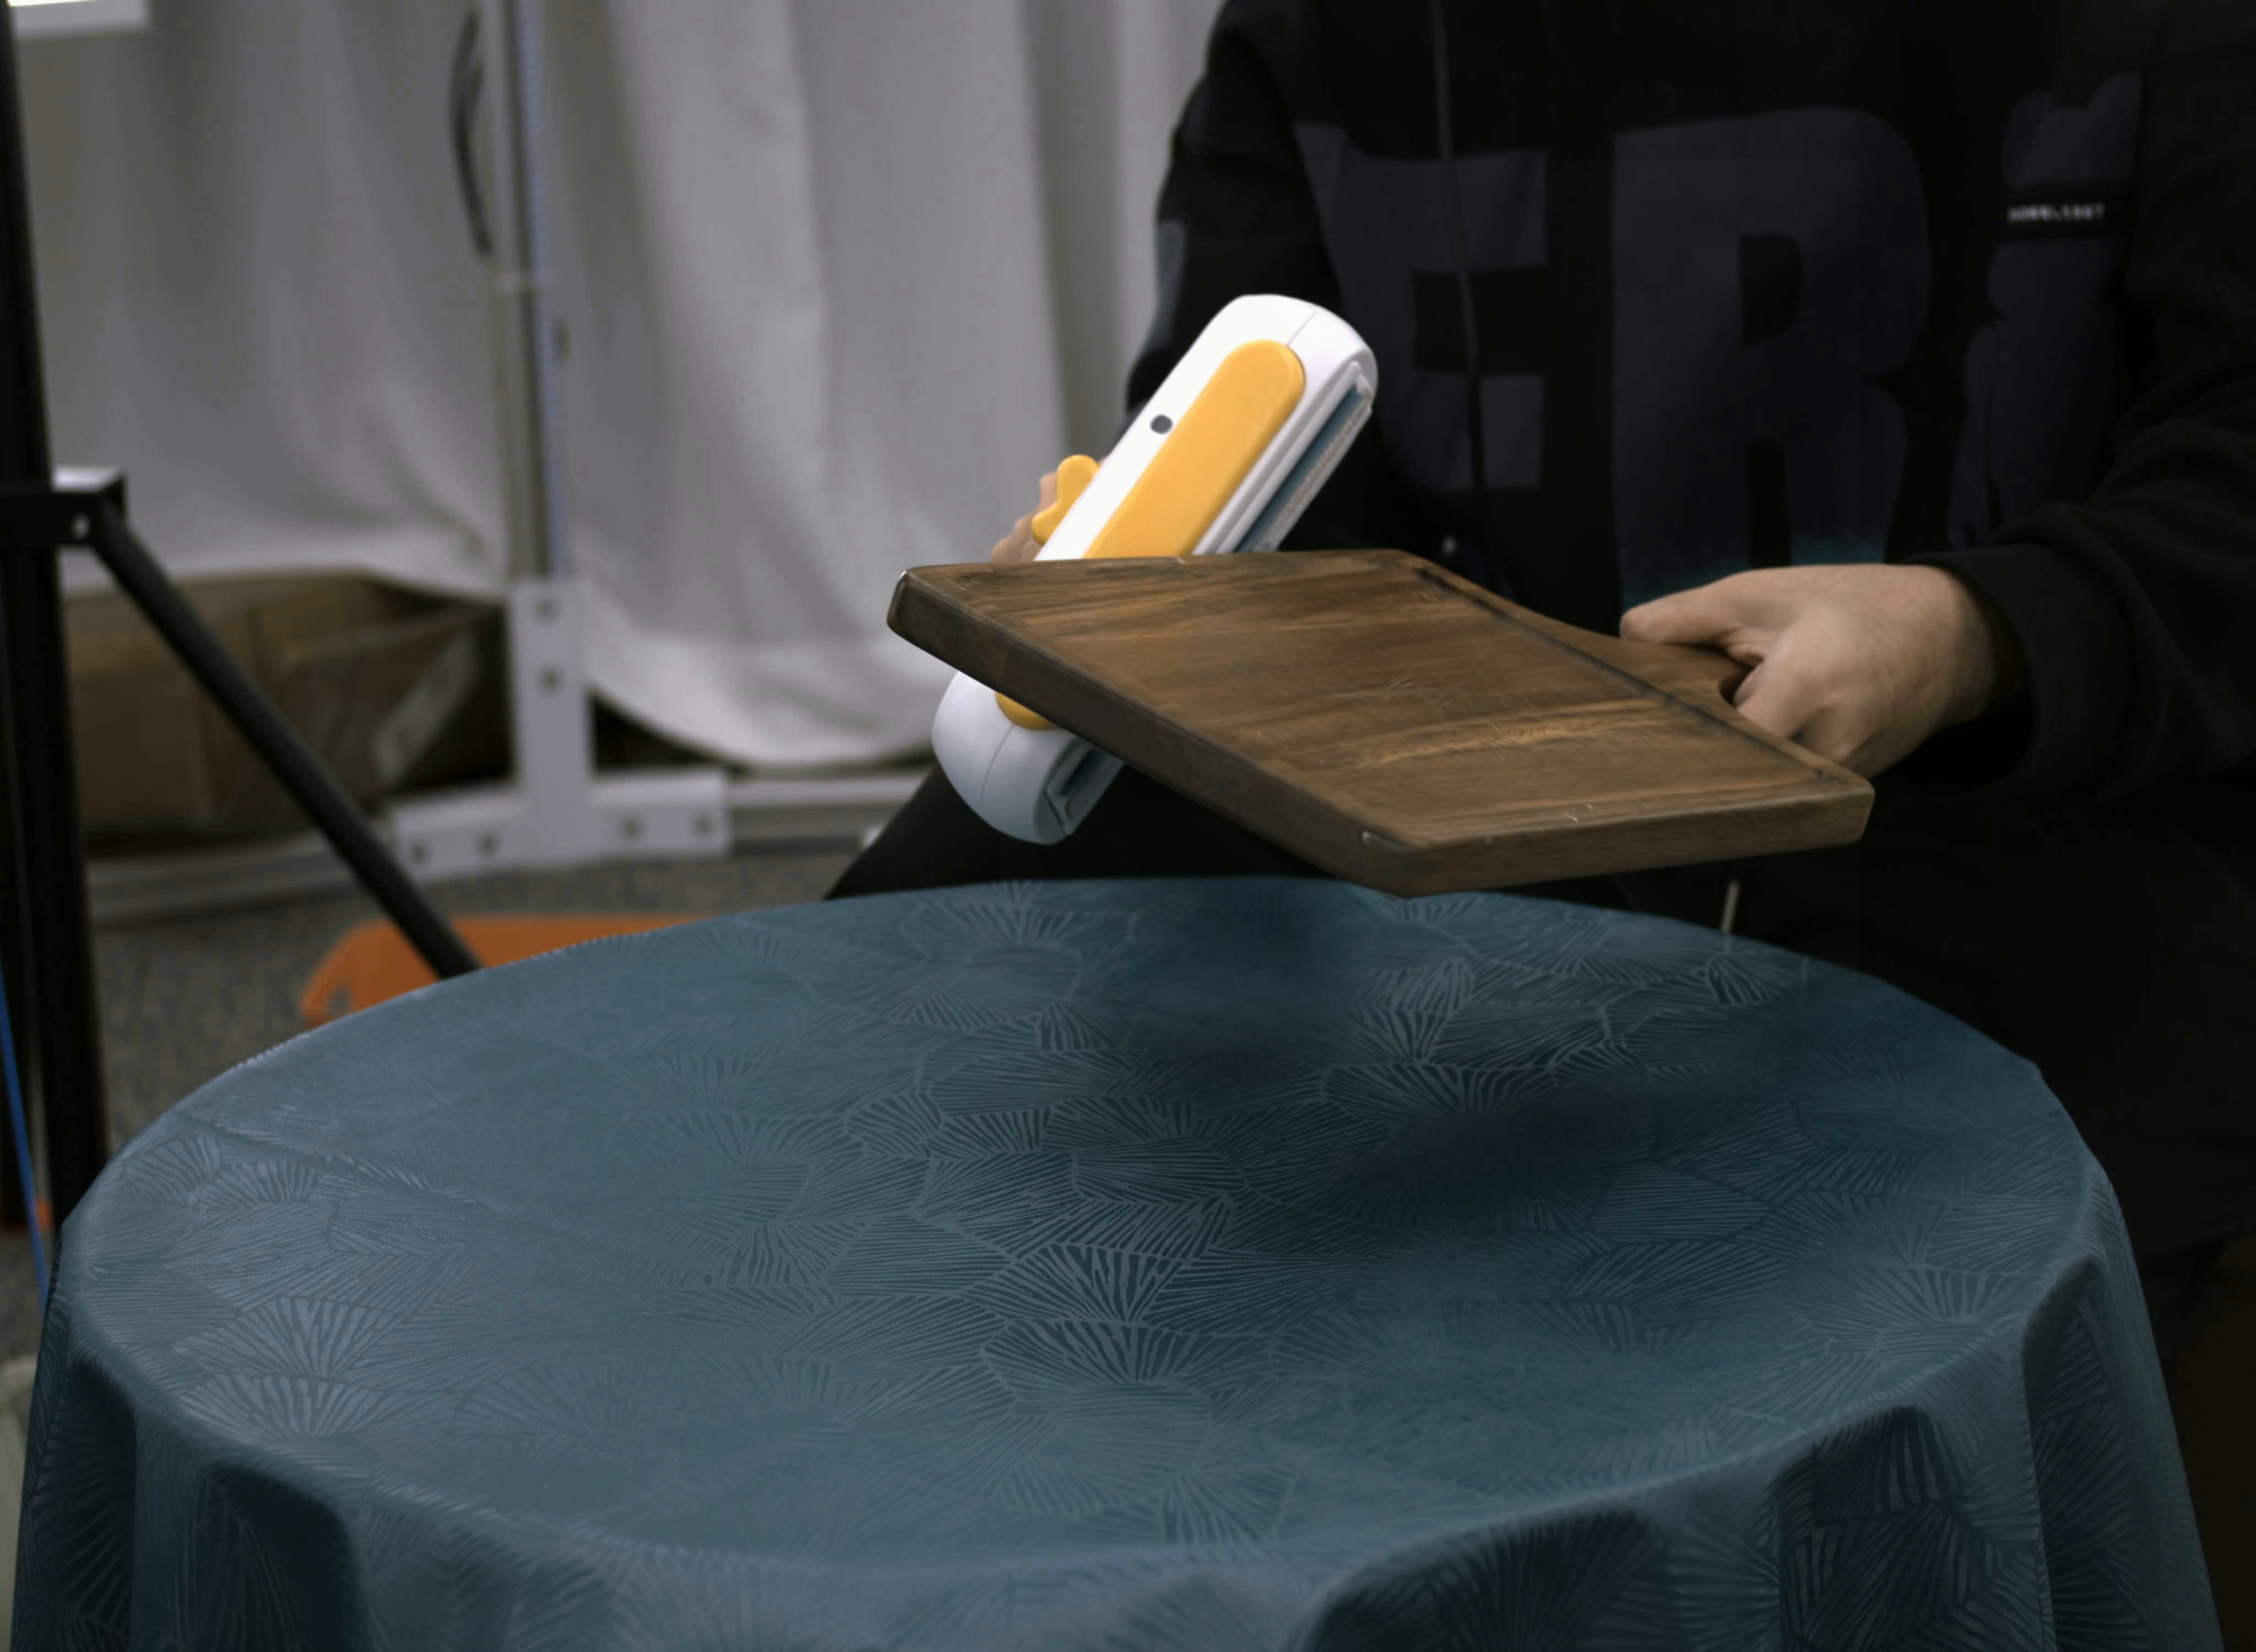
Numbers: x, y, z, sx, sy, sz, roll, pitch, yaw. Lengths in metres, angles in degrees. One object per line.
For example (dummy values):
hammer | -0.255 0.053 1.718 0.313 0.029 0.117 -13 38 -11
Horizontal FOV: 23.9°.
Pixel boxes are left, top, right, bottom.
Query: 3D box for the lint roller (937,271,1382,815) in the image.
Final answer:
lint roller | 0.002 -0.076 1.719 0.074 0.192 0.192 31 -15 7

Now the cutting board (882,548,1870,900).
cutting board | 0.107 -0.037 1.589 0.205 0.023 0.343 28 20 34
